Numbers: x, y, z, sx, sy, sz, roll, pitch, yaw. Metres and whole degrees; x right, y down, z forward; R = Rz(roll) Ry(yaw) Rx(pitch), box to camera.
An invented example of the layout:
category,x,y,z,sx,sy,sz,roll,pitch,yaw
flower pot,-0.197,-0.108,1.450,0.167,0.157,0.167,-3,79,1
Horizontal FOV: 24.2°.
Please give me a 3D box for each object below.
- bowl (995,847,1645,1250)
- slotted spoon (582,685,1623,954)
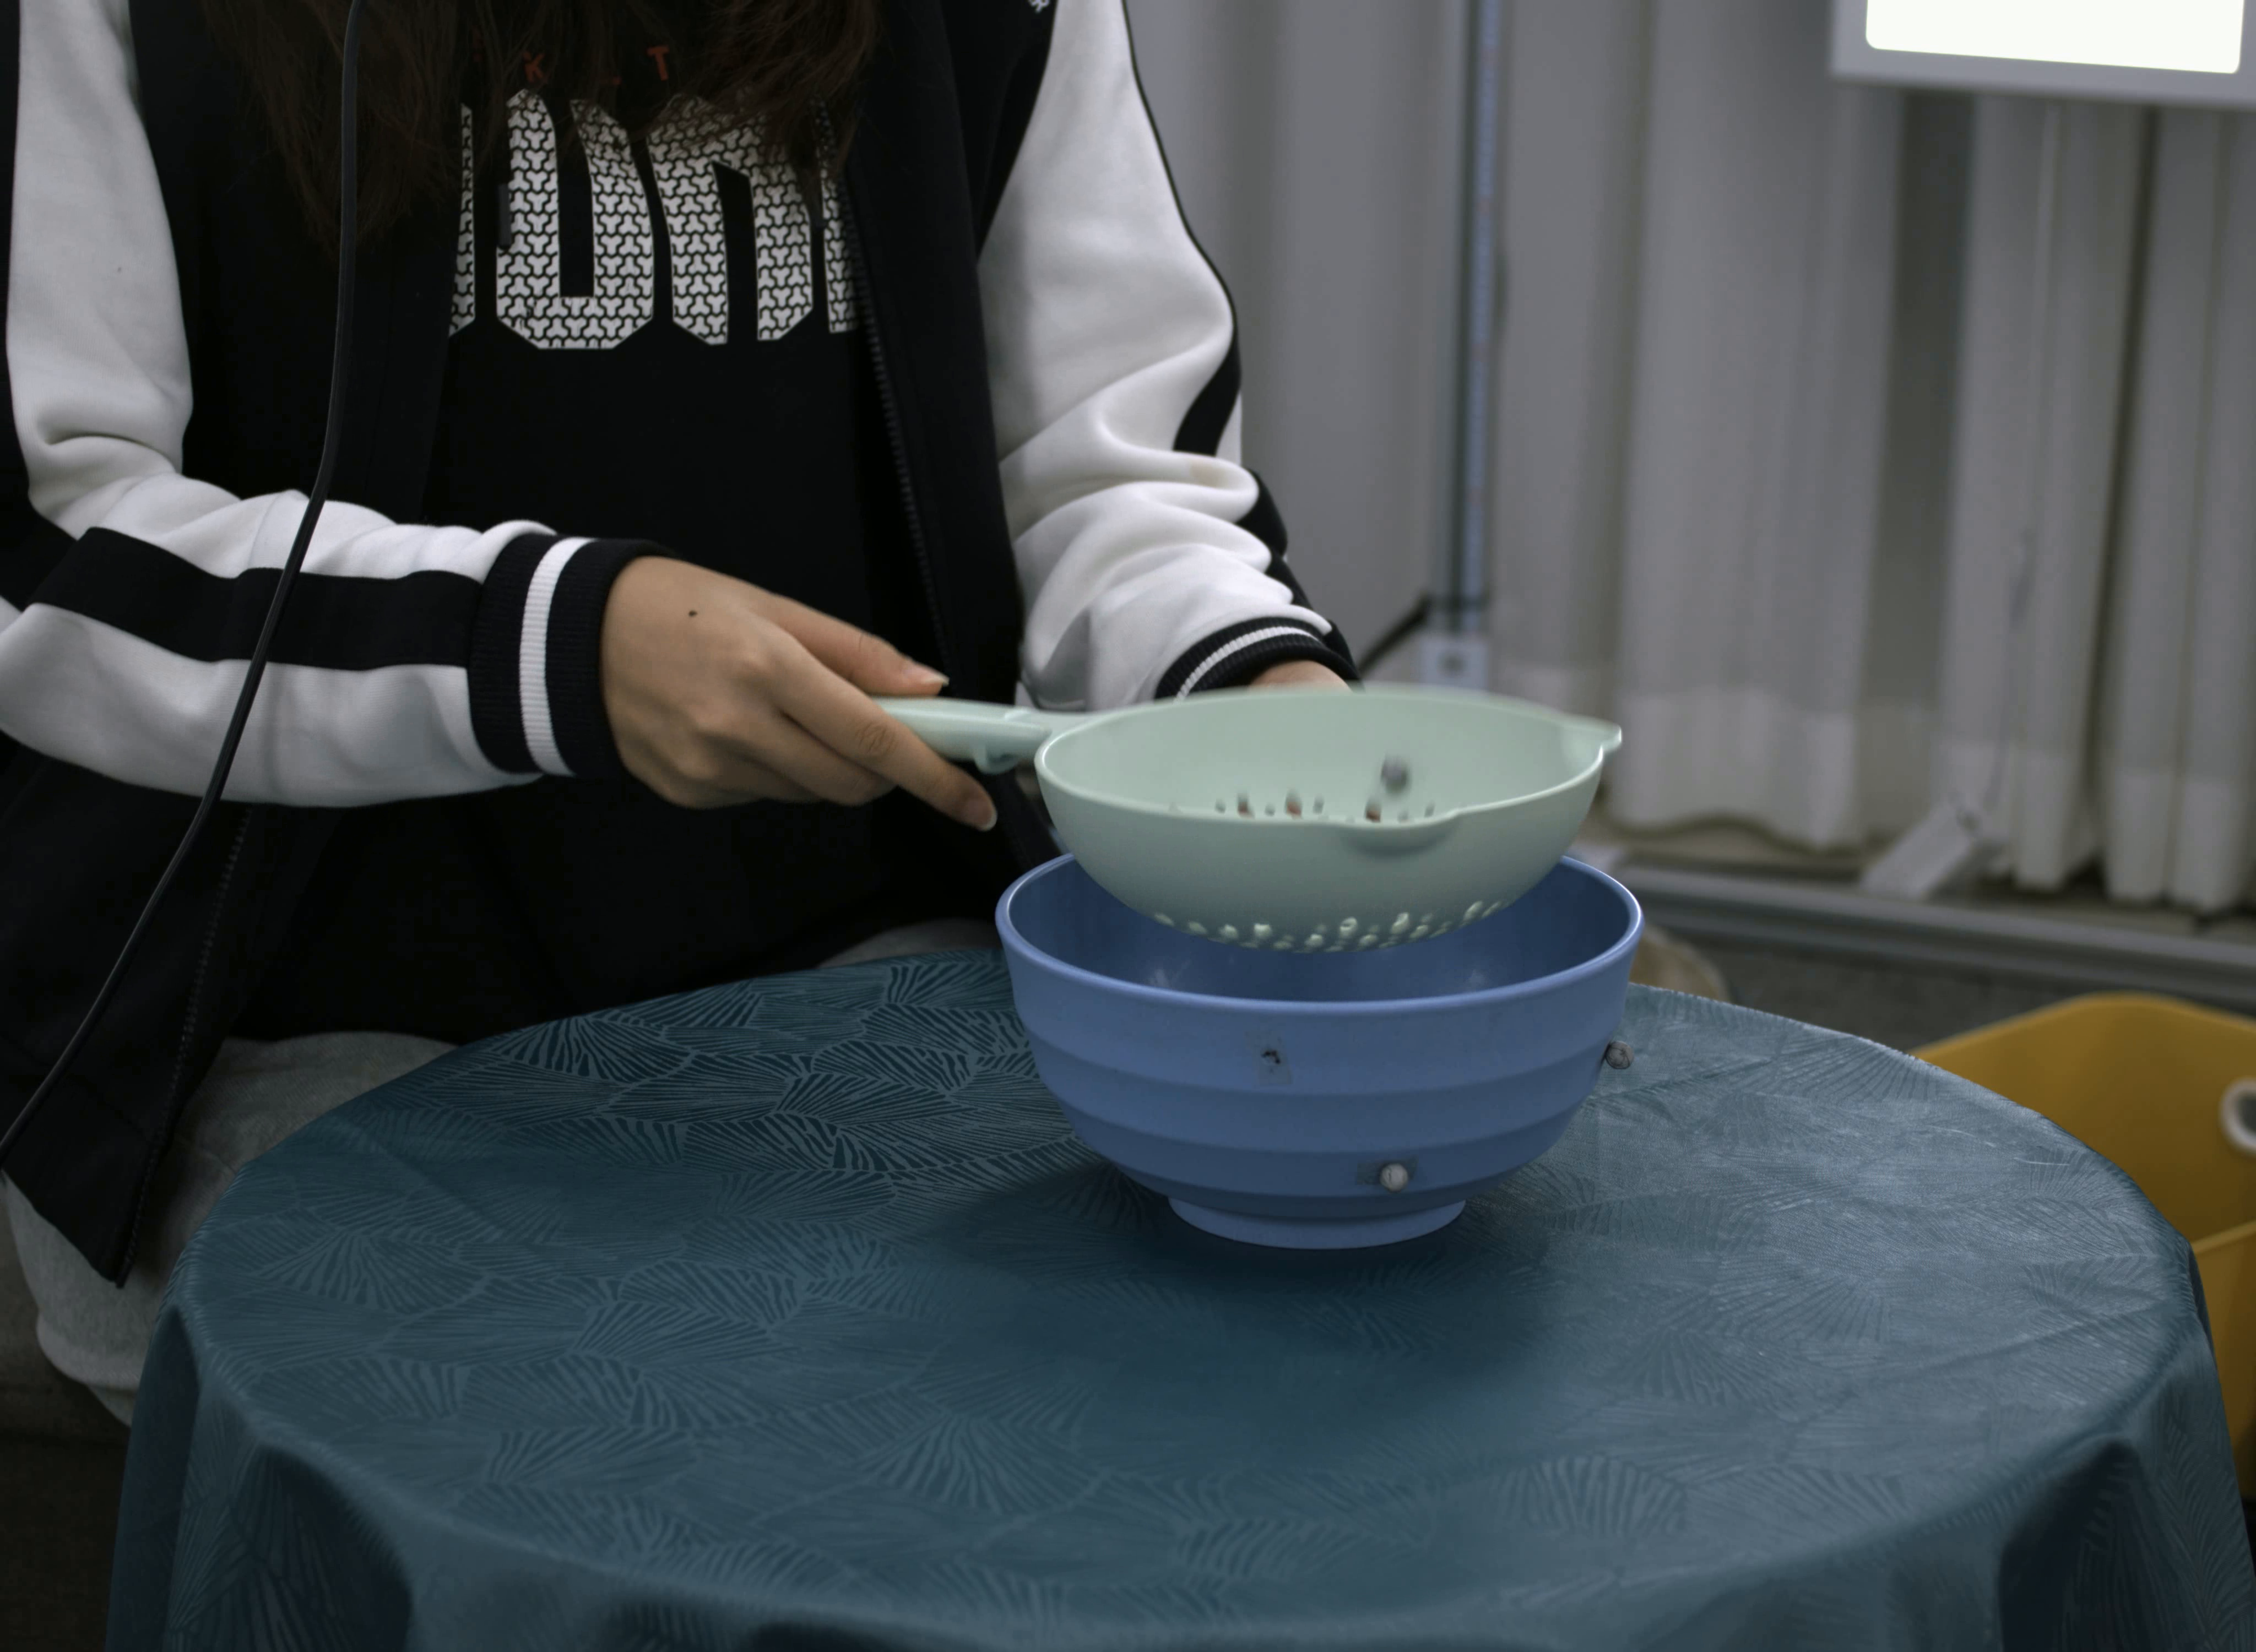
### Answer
category,x,y,z,sx,sy,sz,roll,pitch,yaw
bowl,0.058,0.069,1.601,0.196,0.096,0.195,0,16,1
slotted spoon,-0.024,-0.018,1.621,0.354,0.076,0.170,15,16,29
